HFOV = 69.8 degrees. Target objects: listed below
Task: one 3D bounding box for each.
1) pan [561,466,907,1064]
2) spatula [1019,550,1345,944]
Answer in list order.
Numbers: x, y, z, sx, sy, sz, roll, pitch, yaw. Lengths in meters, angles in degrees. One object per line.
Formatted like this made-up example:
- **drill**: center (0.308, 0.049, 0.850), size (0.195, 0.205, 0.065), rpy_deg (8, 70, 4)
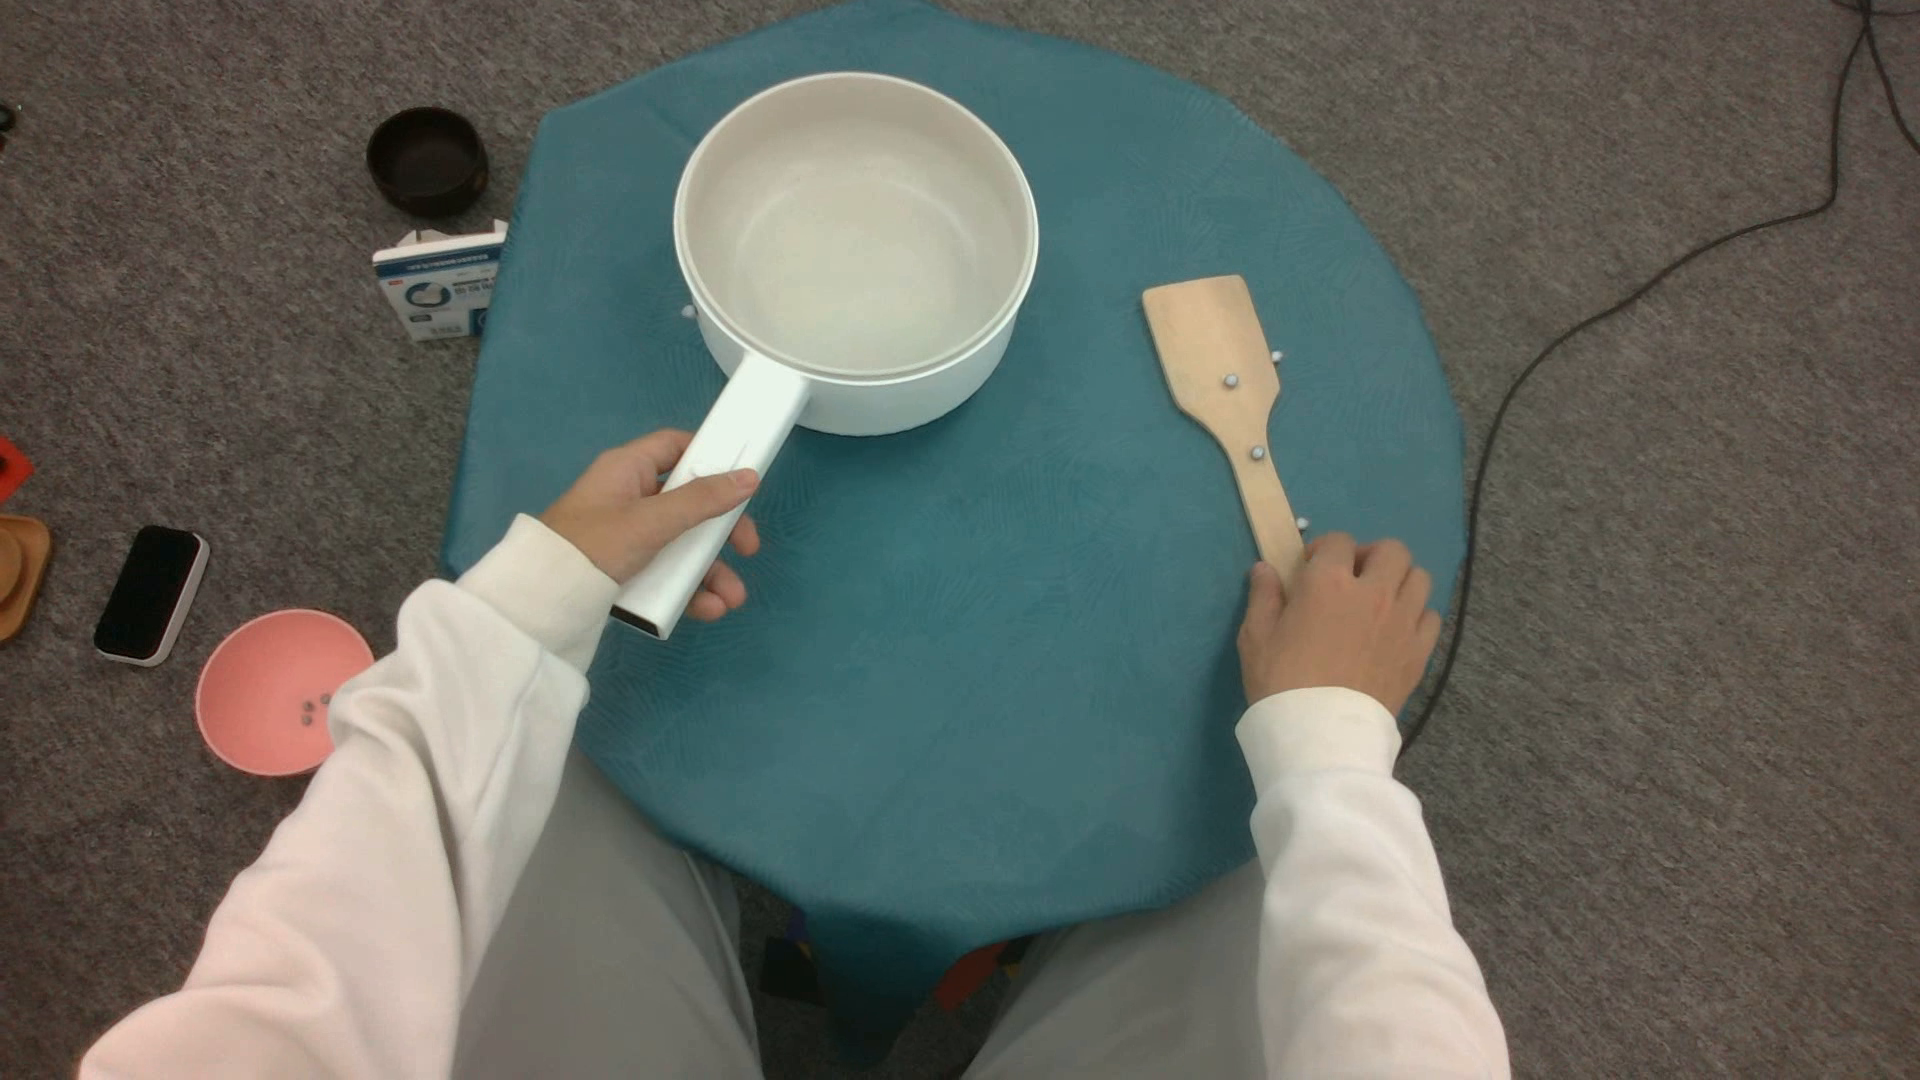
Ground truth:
- **pan**: center (-0.143, 0.124, 0.798), size (0.201, 0.101, 0.356), rpy_deg (7, 56, 5)
- **spatula**: center (0.138, 0.121, 0.848), size (0.072, 0.010, 0.293), rpy_deg (-24, 56, -17)
